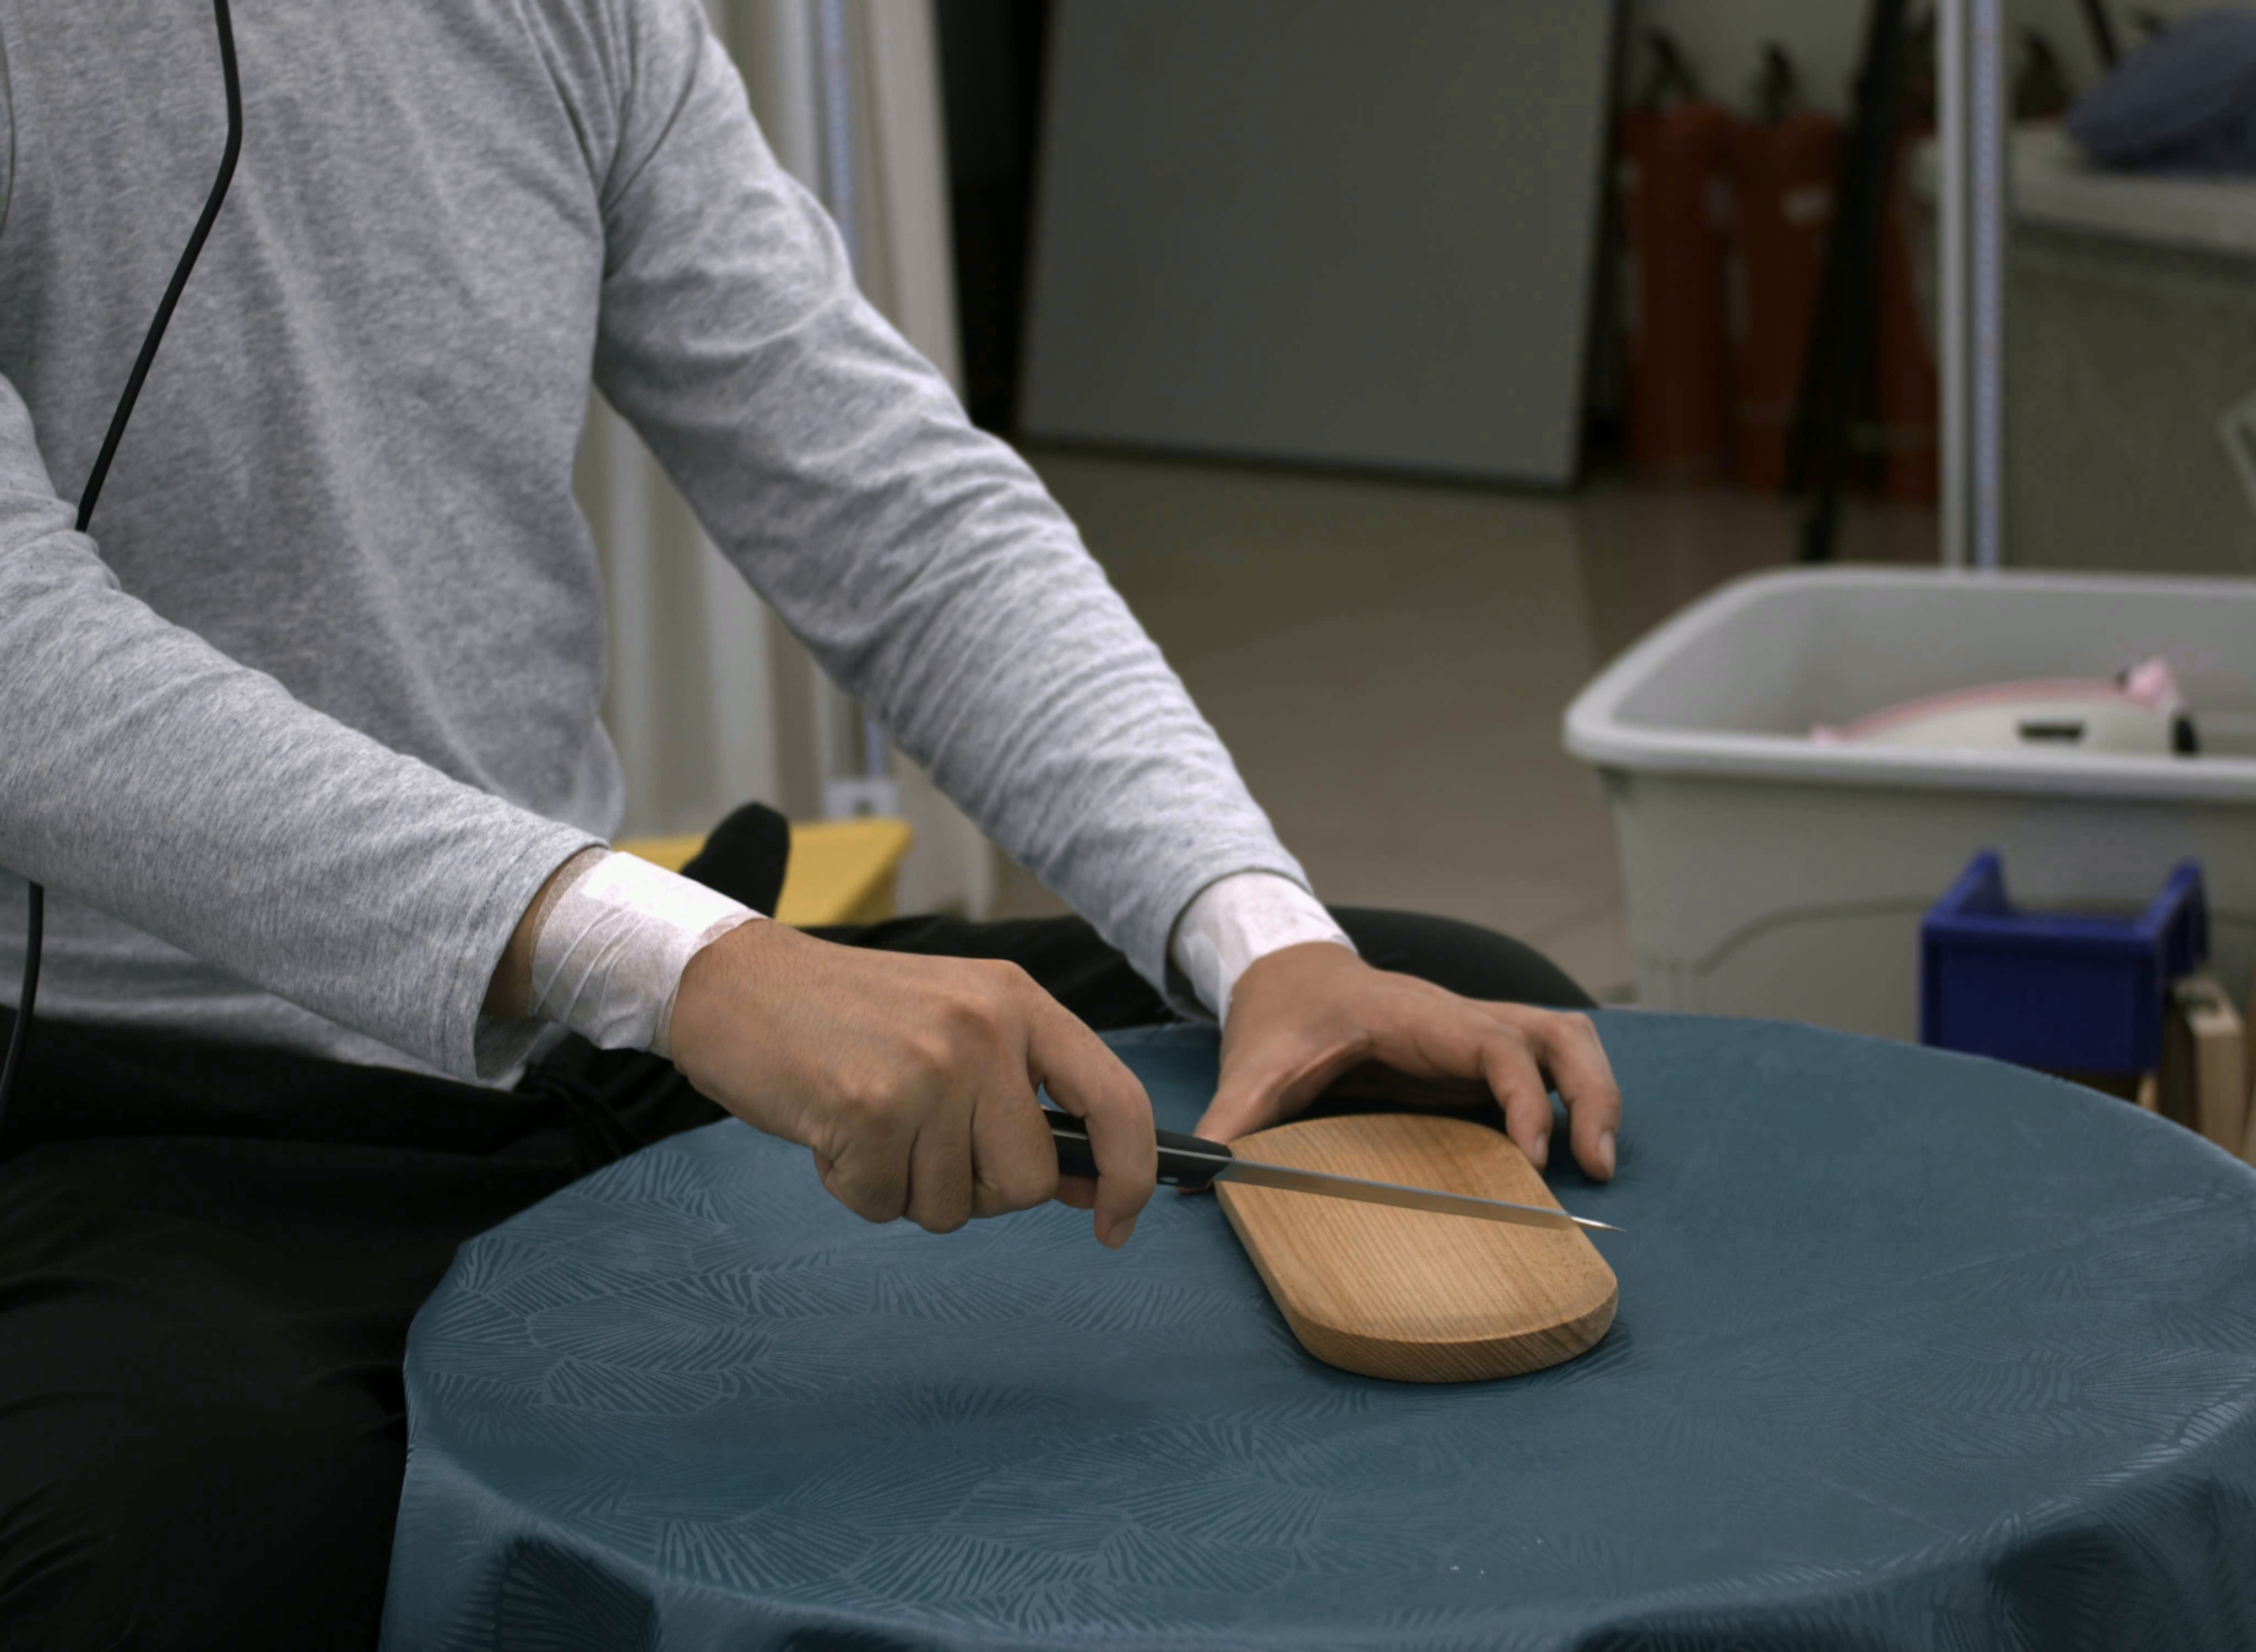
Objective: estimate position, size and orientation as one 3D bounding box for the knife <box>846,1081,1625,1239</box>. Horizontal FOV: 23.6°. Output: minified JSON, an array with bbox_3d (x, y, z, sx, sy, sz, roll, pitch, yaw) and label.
[{"bbox_3d":[0.034,0.101,1.593,0.235,0.016,0.024,10,-20,-3],"label":"knife"}]

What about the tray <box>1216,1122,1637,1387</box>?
[{"bbox_3d":[0.091,0.131,1.676,0.100,0.020,0.232,-8,15,-9],"label":"tray"}]
